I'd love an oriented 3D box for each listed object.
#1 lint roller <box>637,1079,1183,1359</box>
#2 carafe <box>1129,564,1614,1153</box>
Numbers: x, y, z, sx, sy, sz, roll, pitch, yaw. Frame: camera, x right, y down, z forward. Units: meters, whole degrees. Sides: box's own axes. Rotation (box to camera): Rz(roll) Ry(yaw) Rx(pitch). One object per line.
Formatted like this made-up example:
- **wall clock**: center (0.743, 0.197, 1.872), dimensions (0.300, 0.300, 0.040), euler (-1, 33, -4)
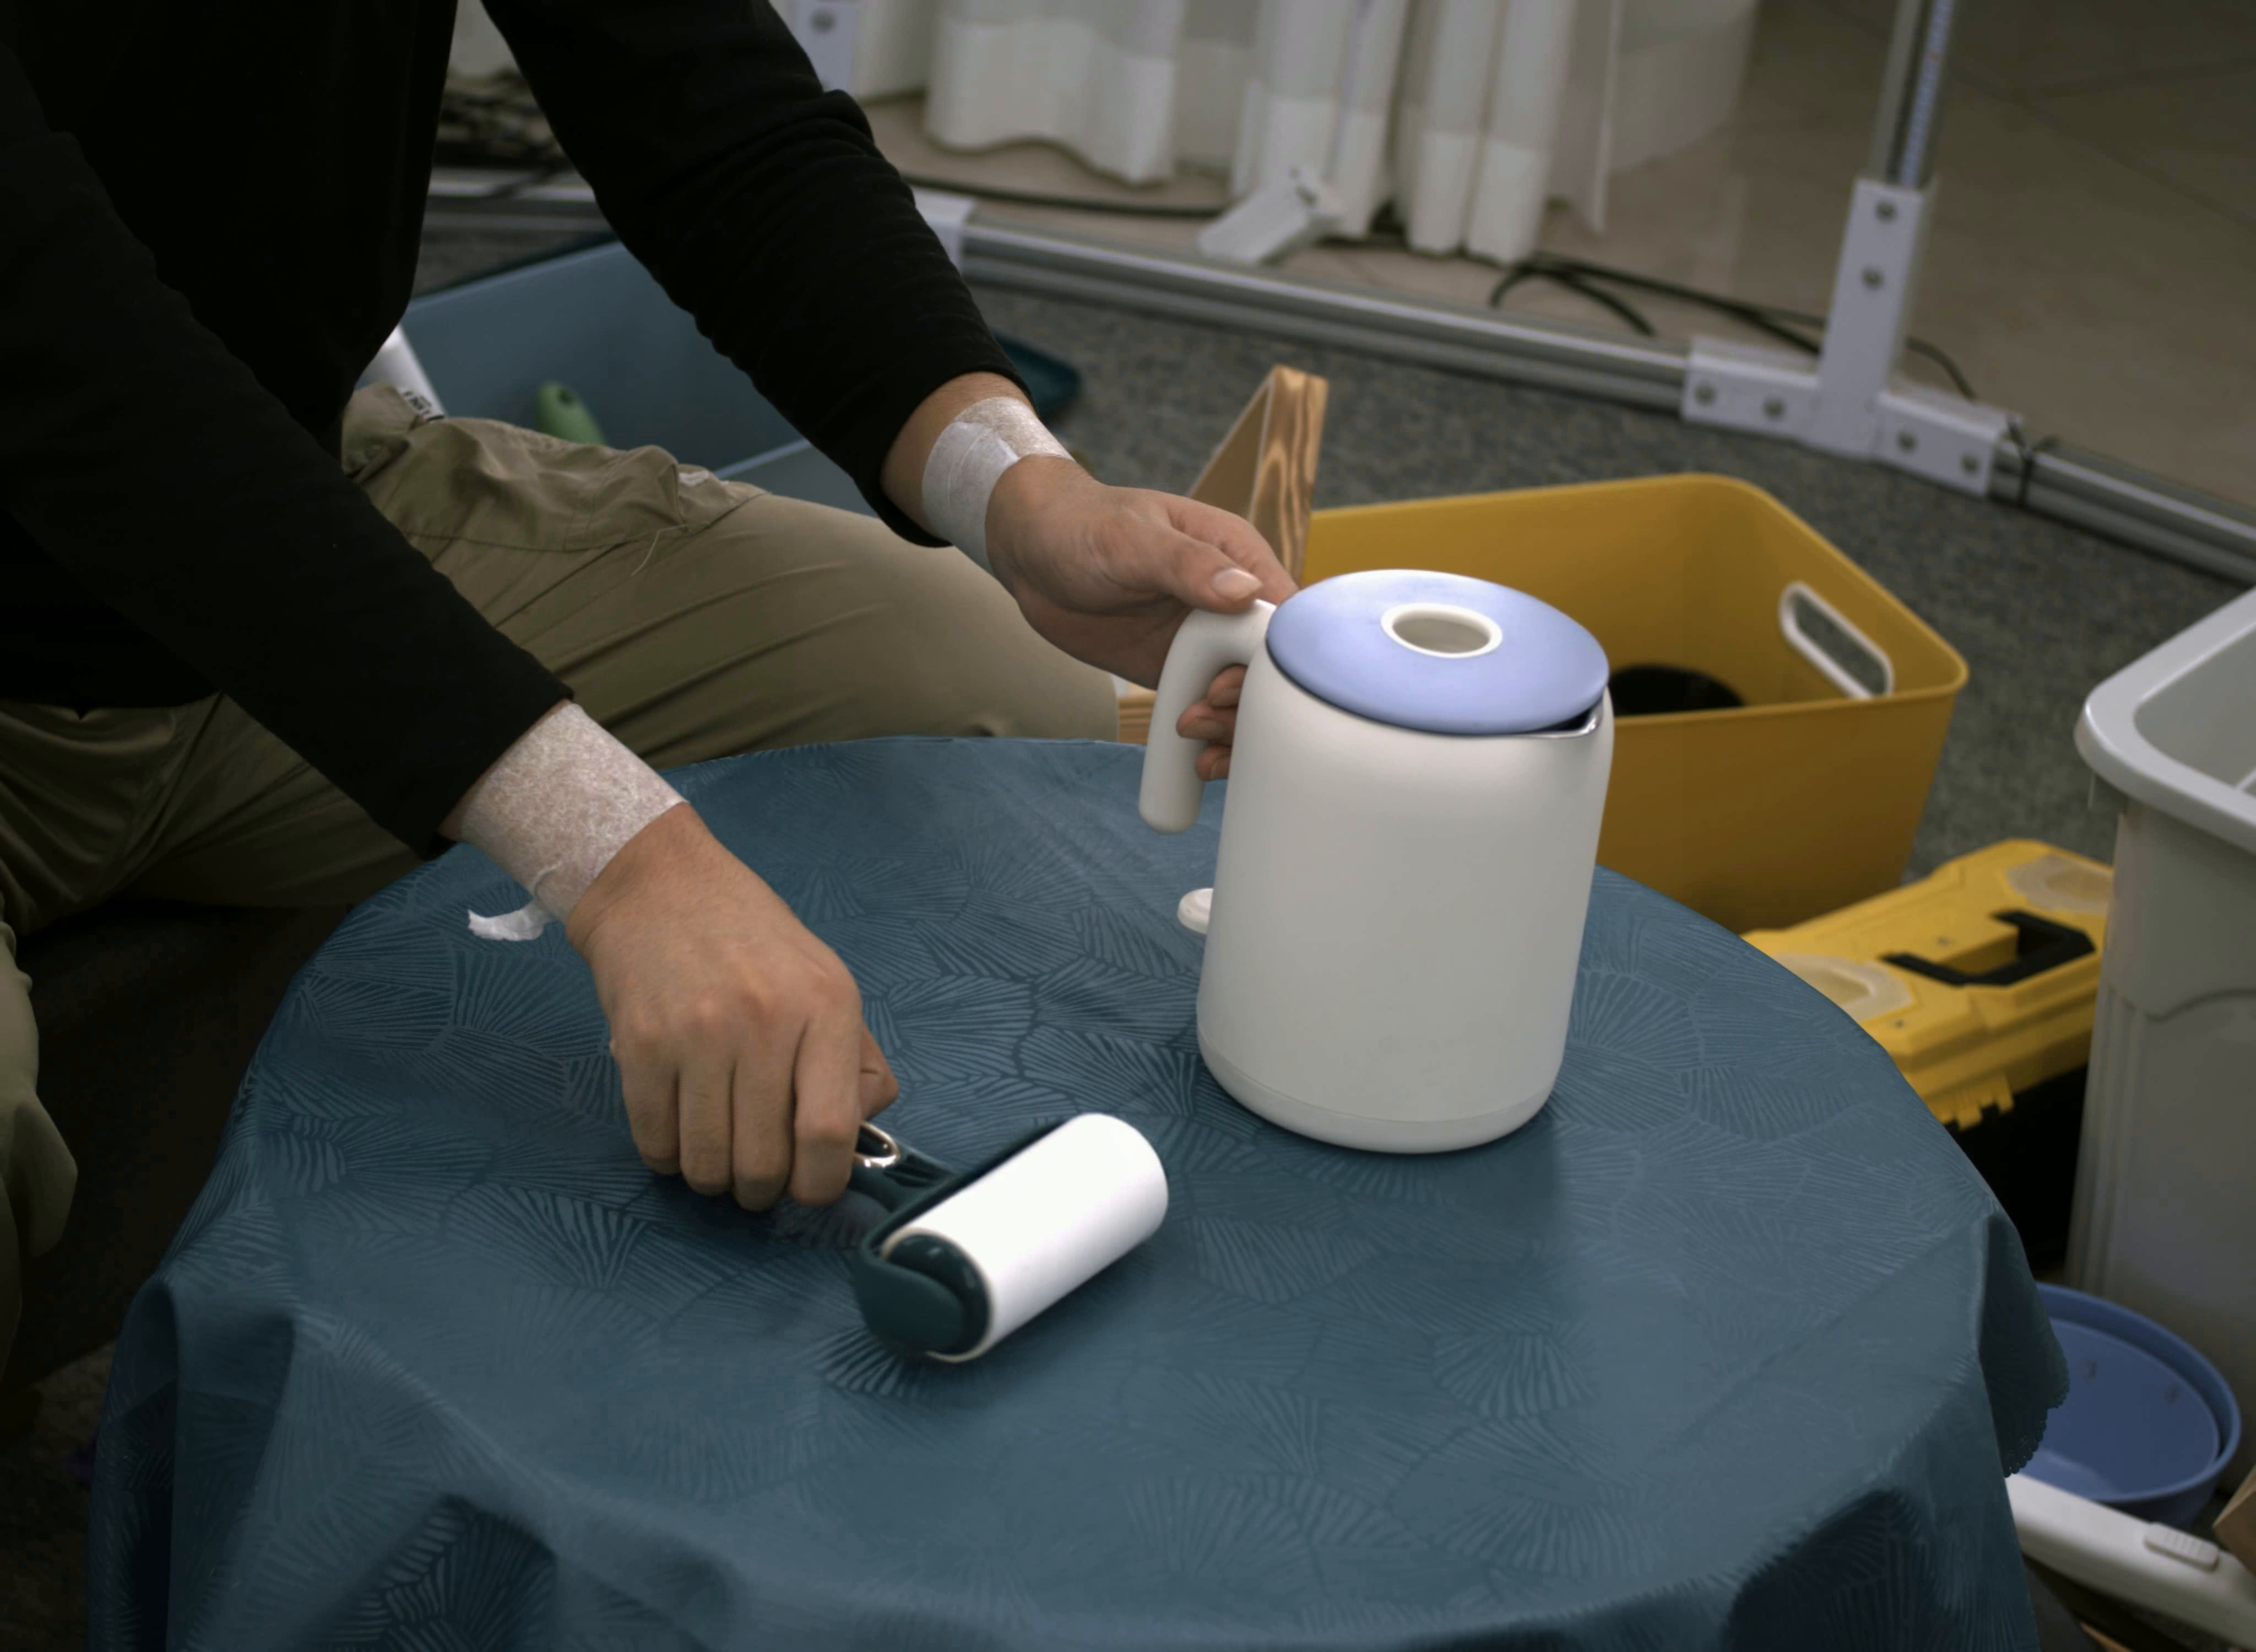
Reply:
- **lint roller**: center (-0.089, 0.106, 1.754), dimensions (0.181, 0.048, 0.134), euler (26, 33, 28)
- **carafe**: center (0.079, 0.002, 1.868), dimensions (0.192, 0.182, 0.131), euler (24, 31, 35)
